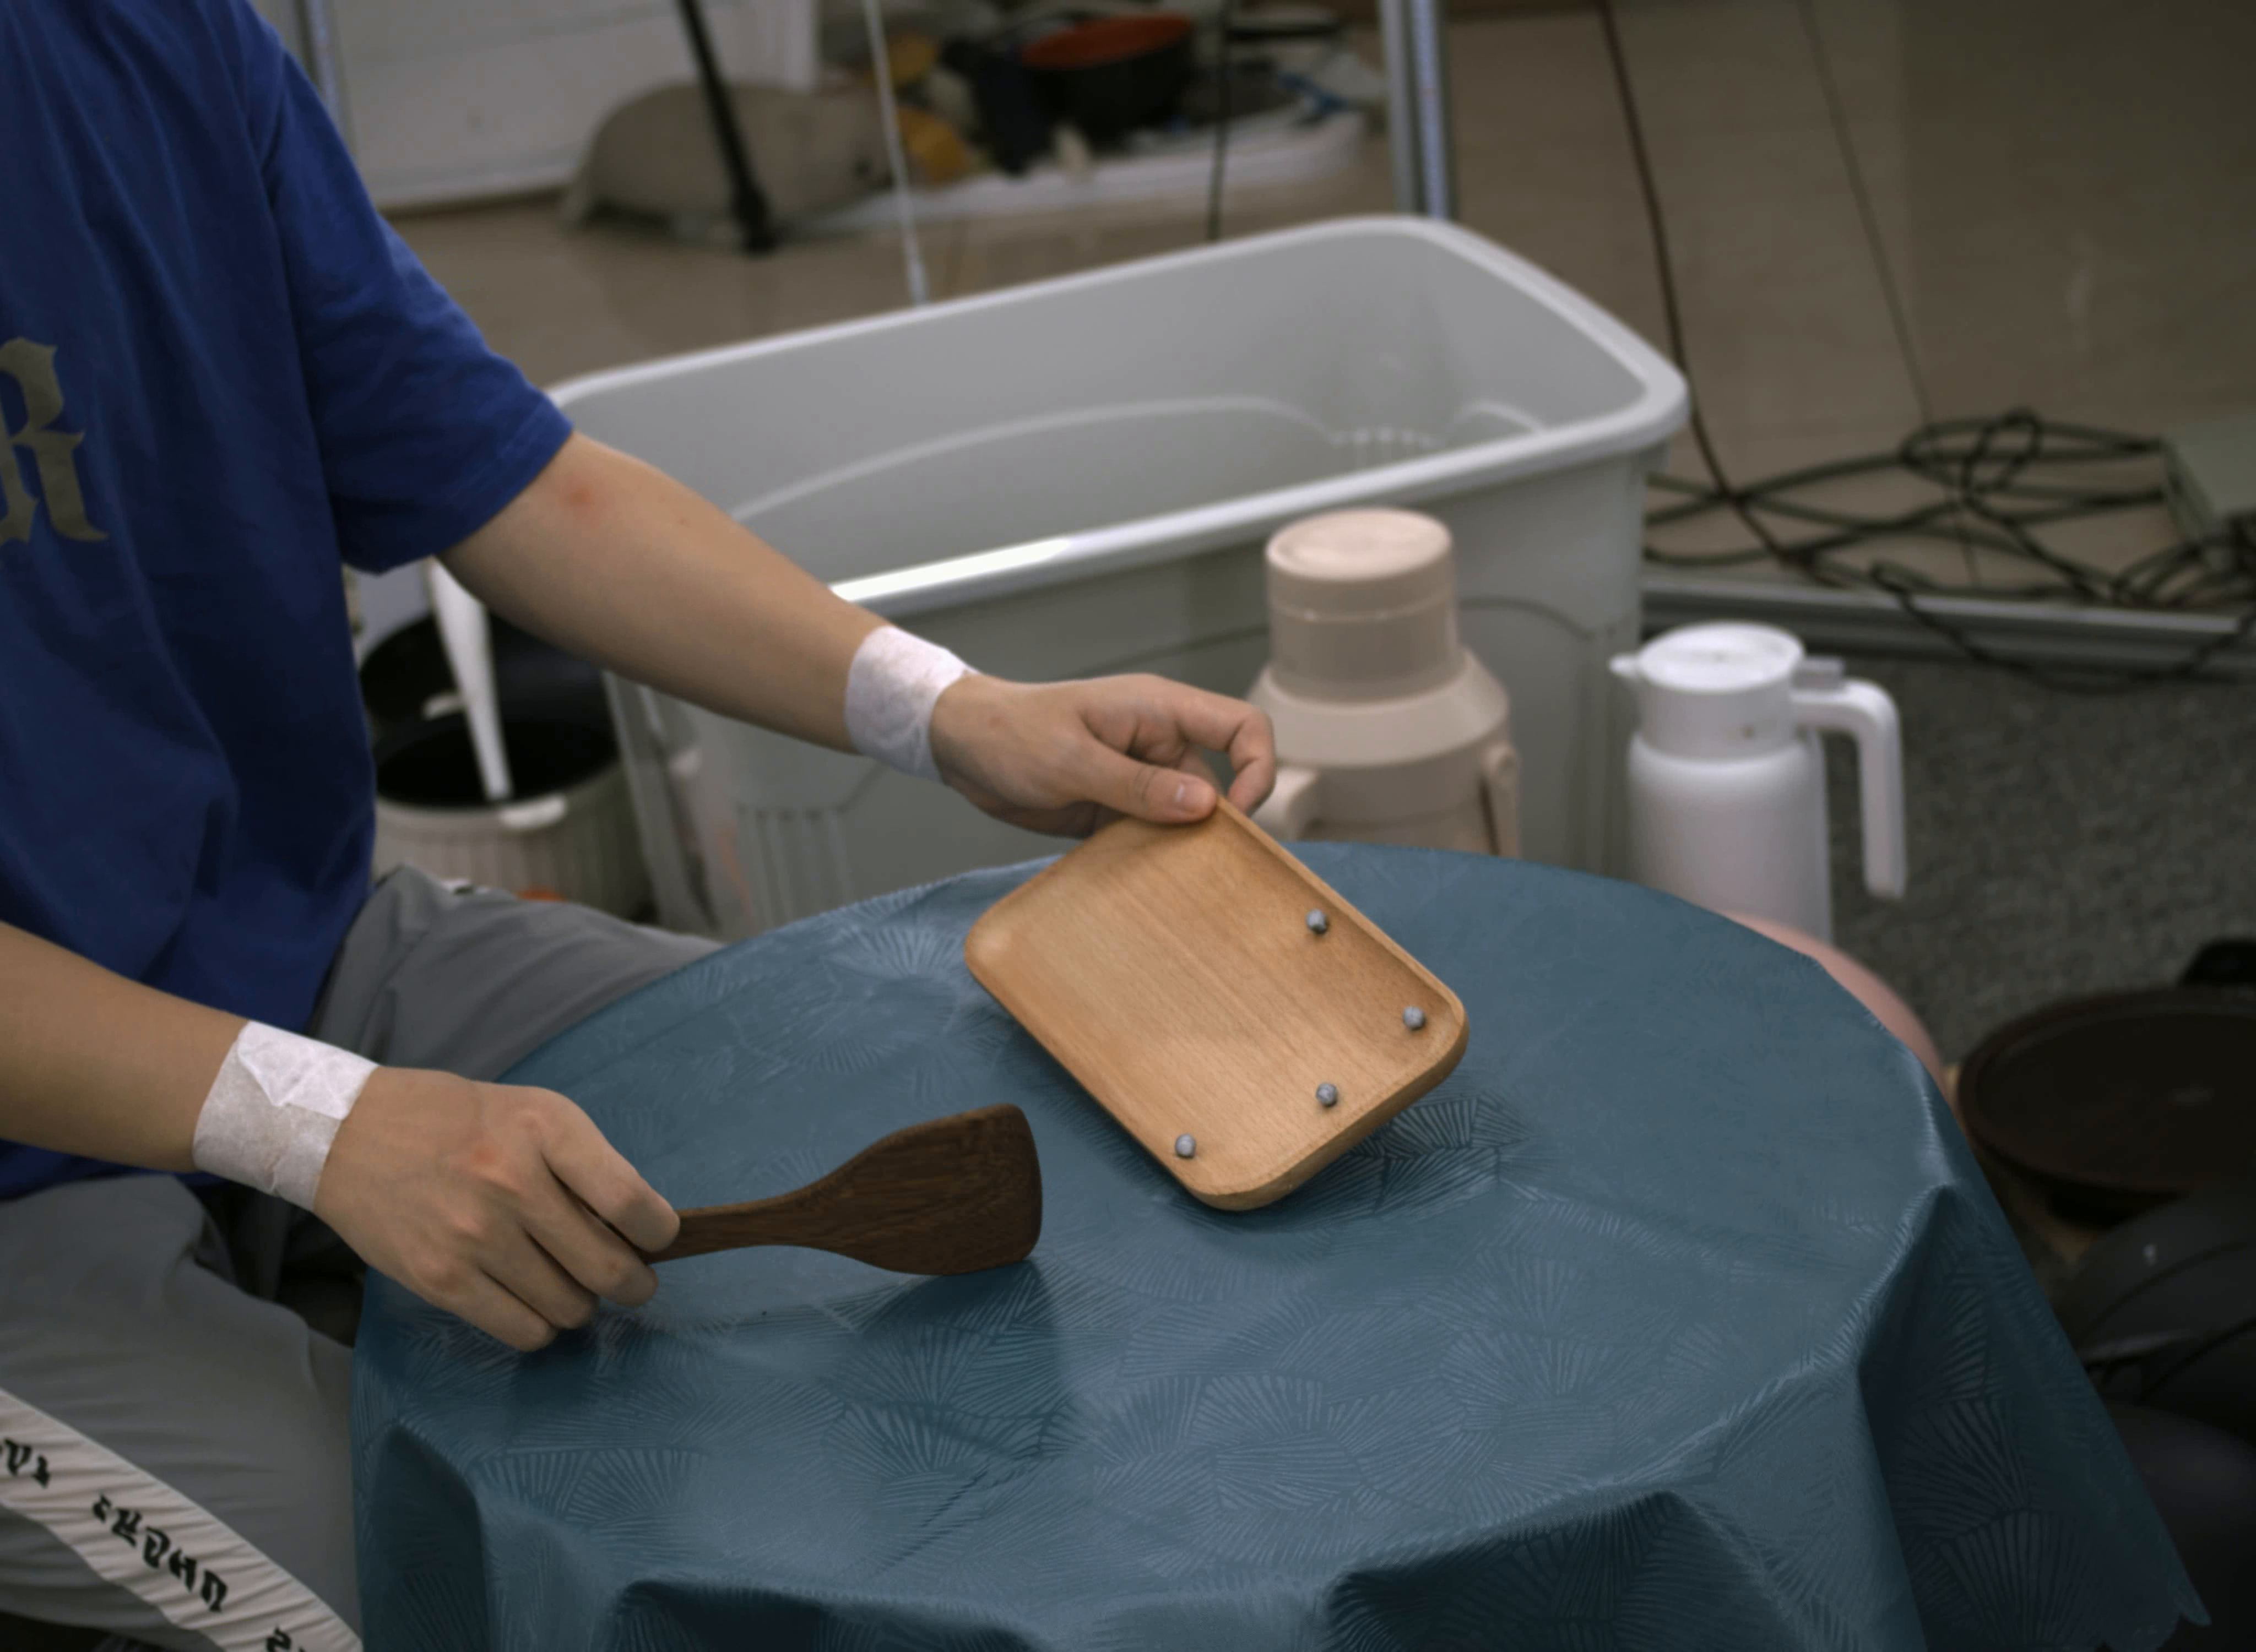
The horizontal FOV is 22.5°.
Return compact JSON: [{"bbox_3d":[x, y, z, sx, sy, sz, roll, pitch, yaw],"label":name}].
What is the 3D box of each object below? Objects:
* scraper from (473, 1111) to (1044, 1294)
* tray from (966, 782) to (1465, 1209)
[{"bbox_3d":[-0.135,0.147,2.083,0.211,0.077,0.010,-8,41,0],"label":"scraper"},{"bbox_3d":[0.032,0.064,2.217,0.130,0.023,0.247,-34,34,-9],"label":"tray"}]
